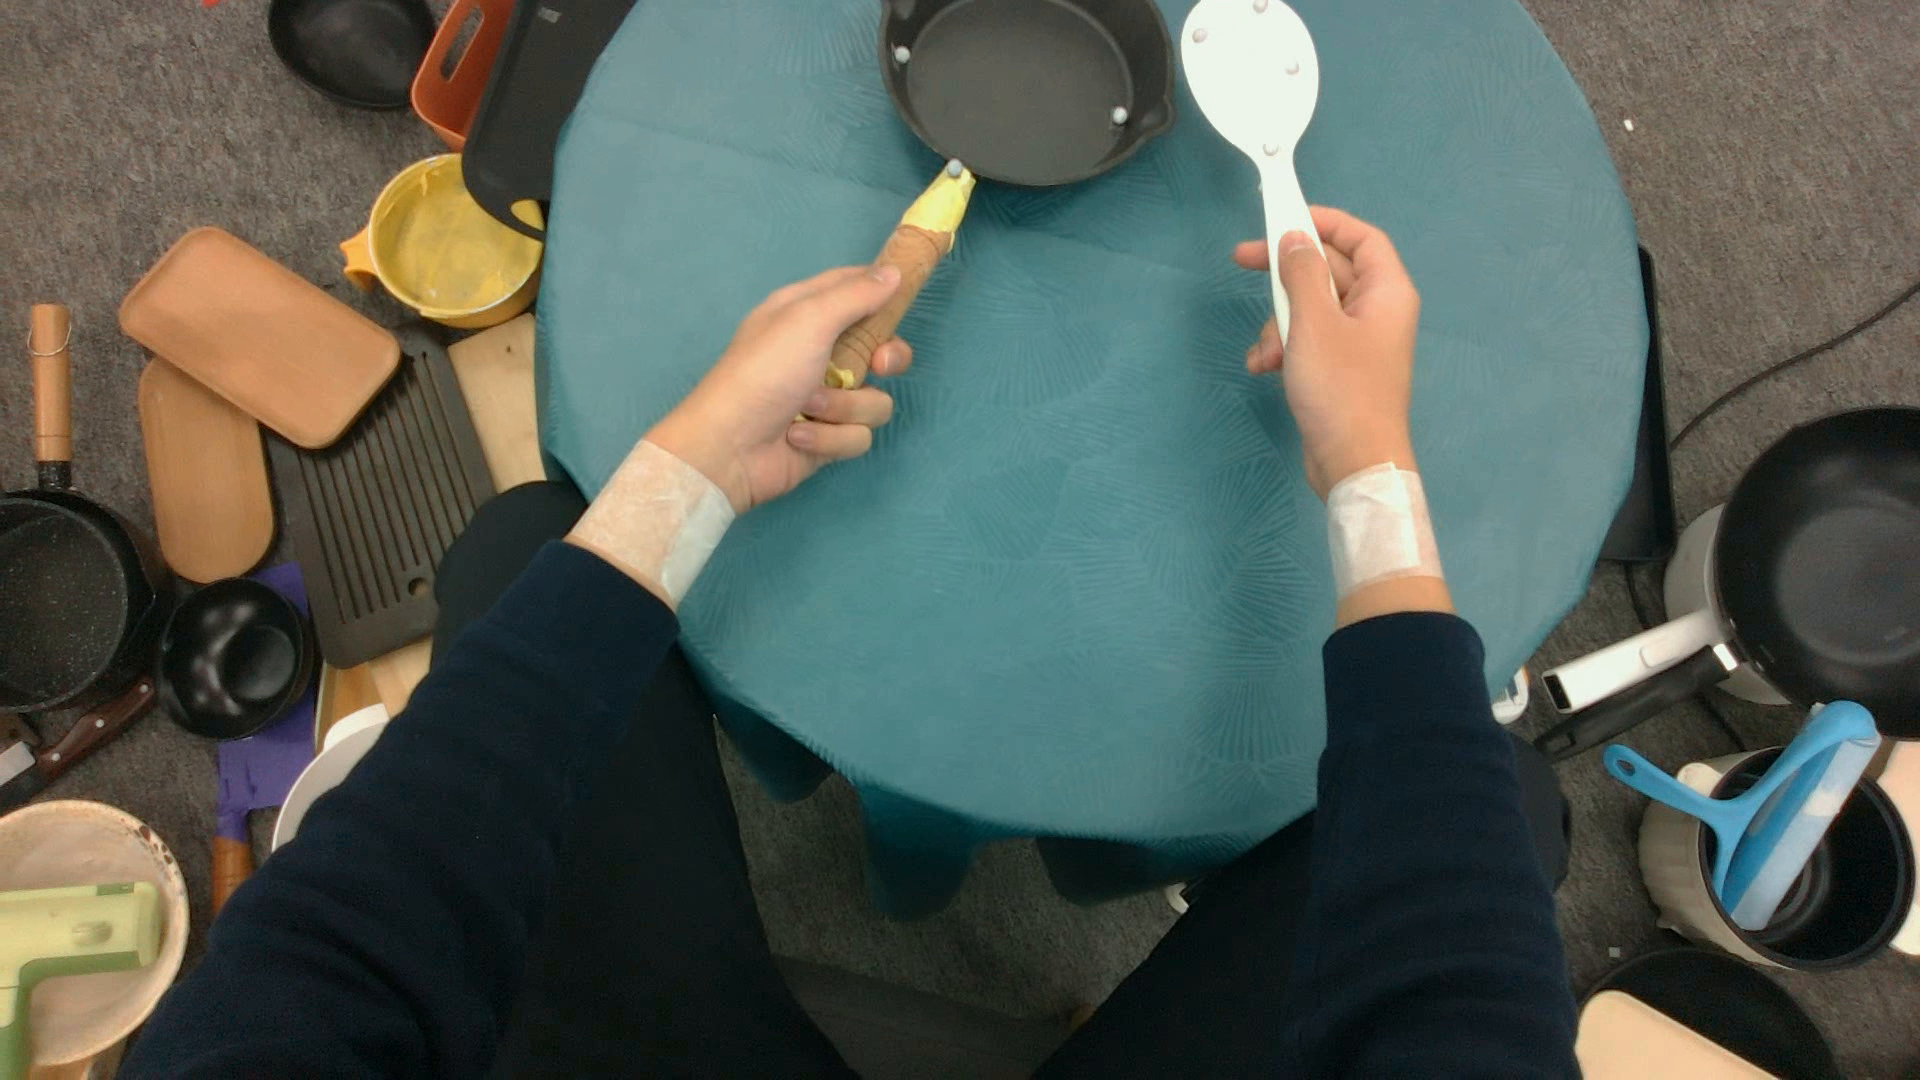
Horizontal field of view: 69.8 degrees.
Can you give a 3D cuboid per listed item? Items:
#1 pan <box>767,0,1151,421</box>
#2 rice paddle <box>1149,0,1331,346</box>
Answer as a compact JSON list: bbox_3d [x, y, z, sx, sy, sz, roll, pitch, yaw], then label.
[{"bbox_3d":[-0.015,-0.190,0.704,0.169,0.049,0.325,28,70,2],"label":"pan"},{"bbox_3d":[0.145,-0.199,0.697,0.069,0.029,0.205,-13,78,2],"label":"rice paddle"}]
